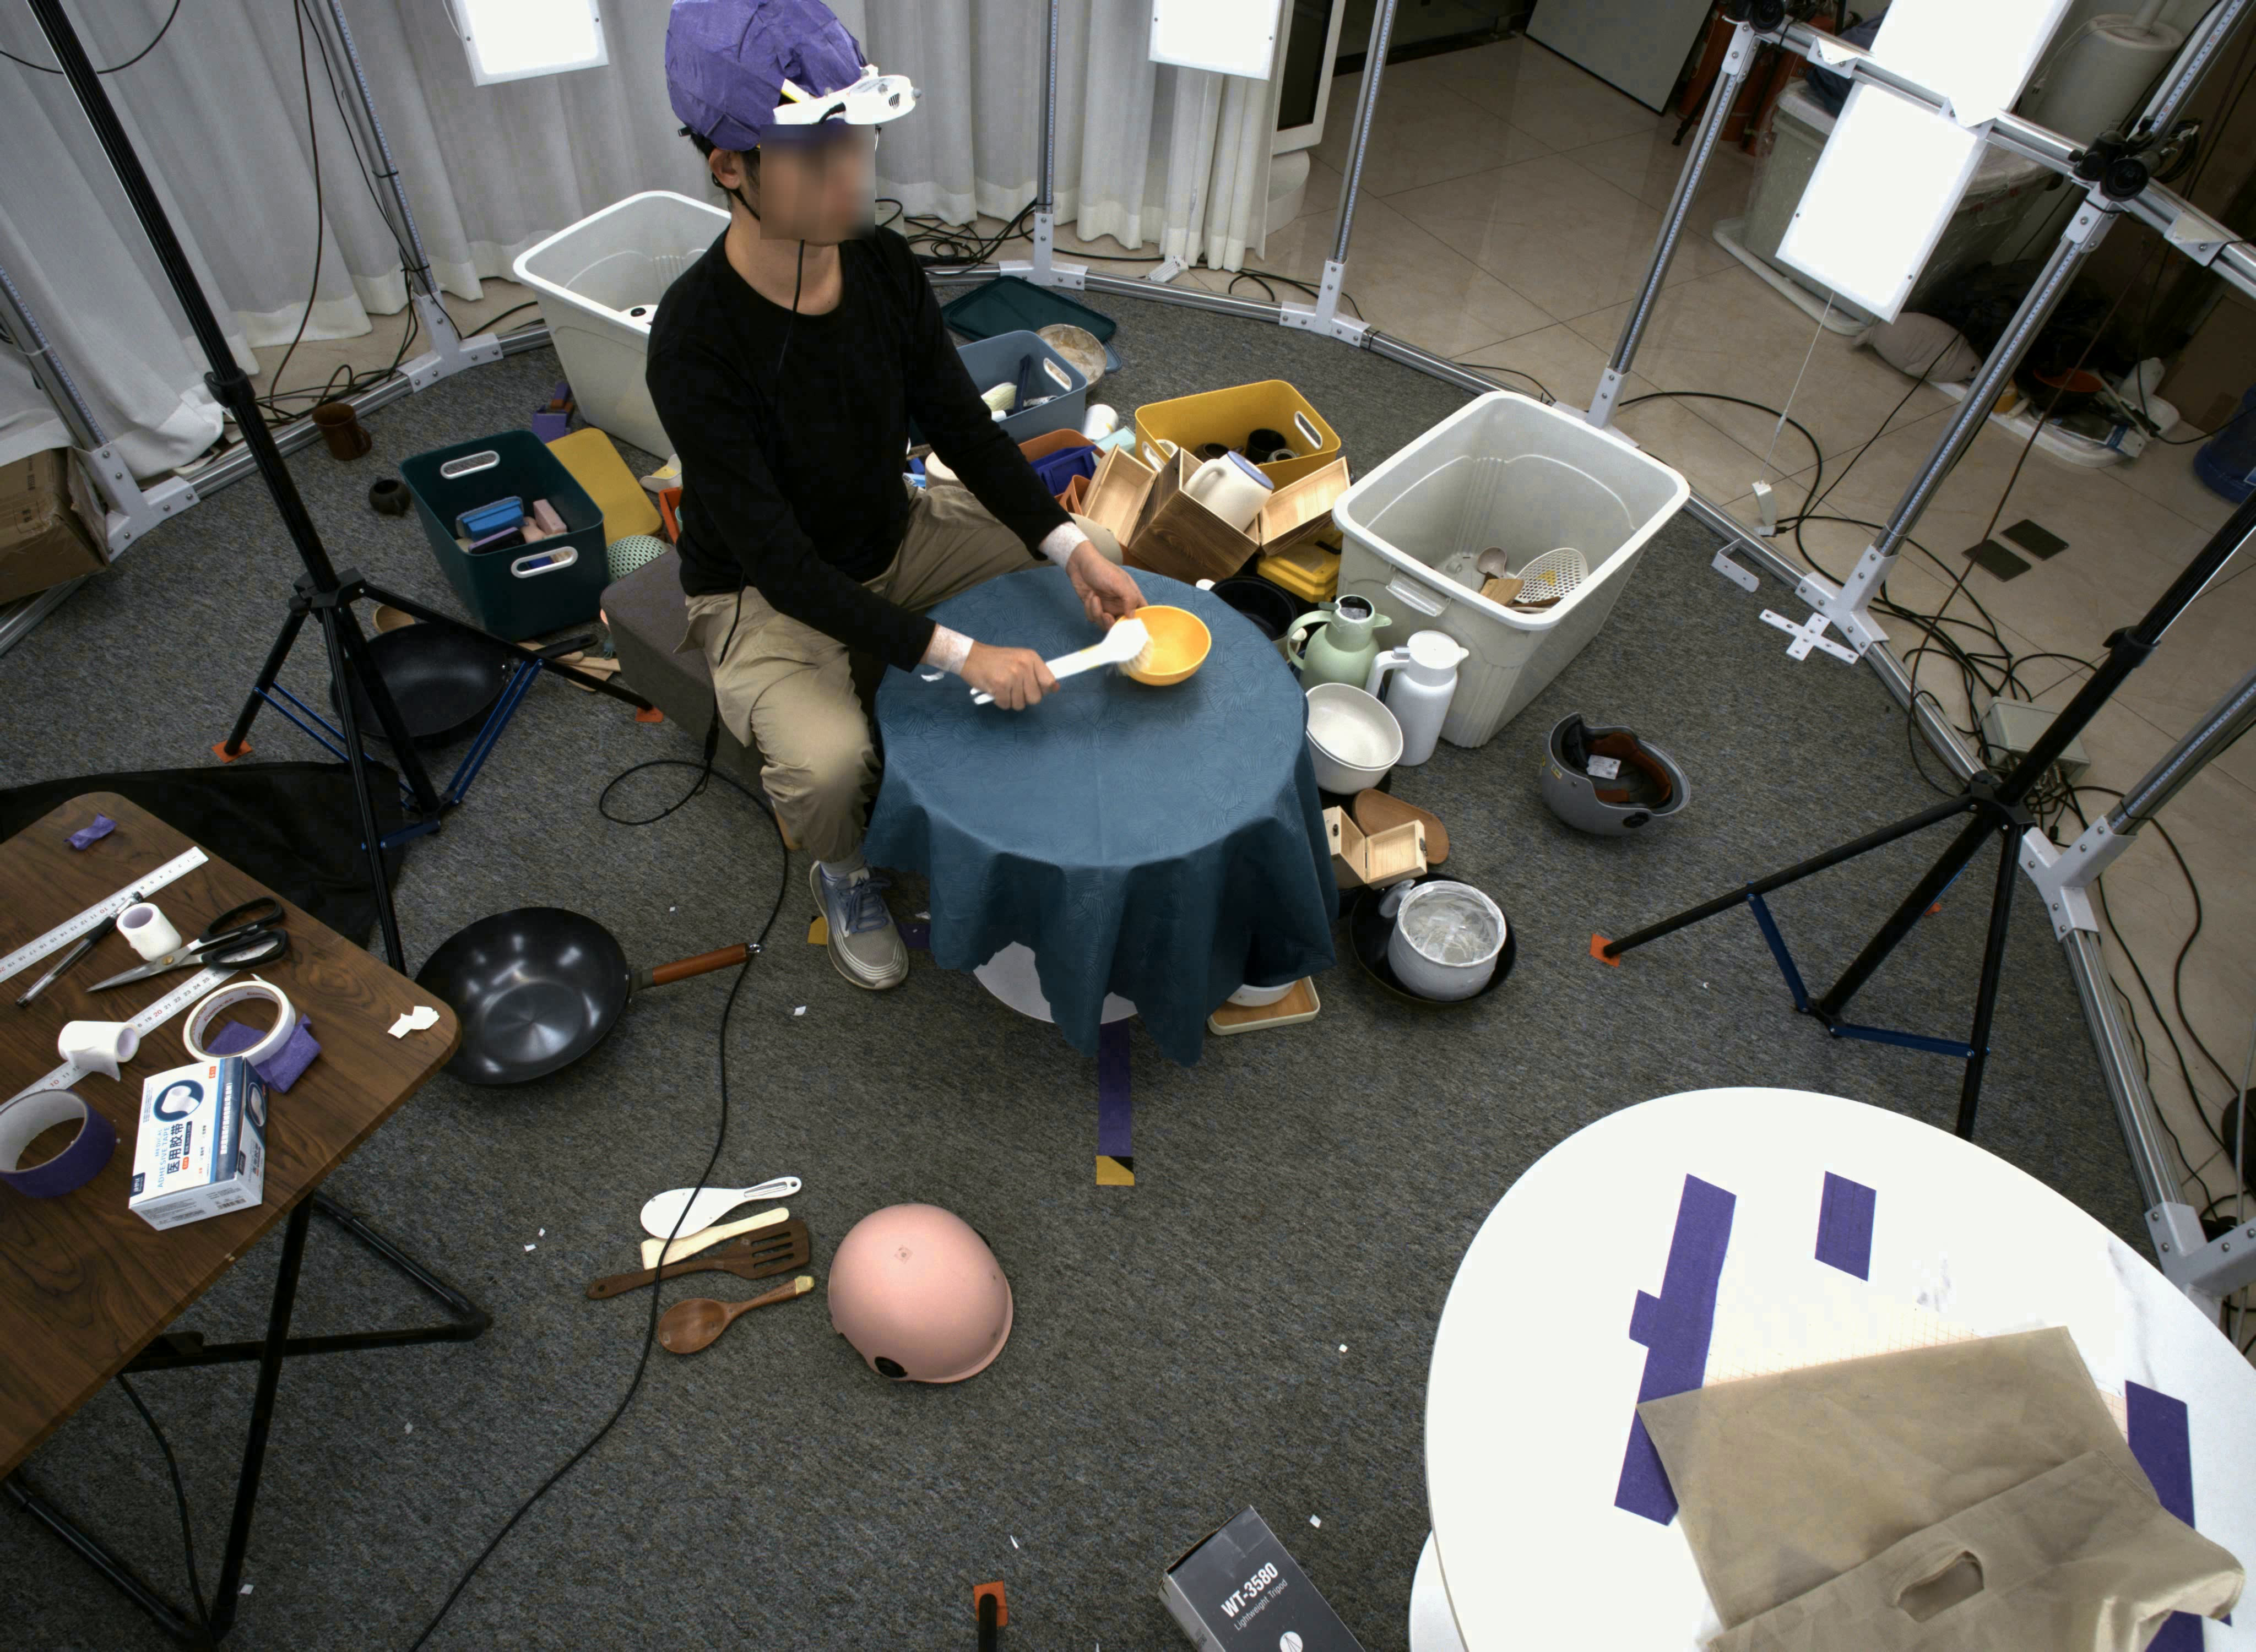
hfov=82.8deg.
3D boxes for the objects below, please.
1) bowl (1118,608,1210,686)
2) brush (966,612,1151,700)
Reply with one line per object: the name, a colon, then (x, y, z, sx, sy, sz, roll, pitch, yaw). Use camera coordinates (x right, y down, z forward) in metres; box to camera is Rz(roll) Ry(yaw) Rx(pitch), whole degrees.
bowl: (0.044, -0.246, 1.848, 0.145, 0.058, 0.149, 1, 47, -1)
brush: (-0.094, -0.221, 1.779, 0.266, 0.055, 0.070, -24, 55, -3)
